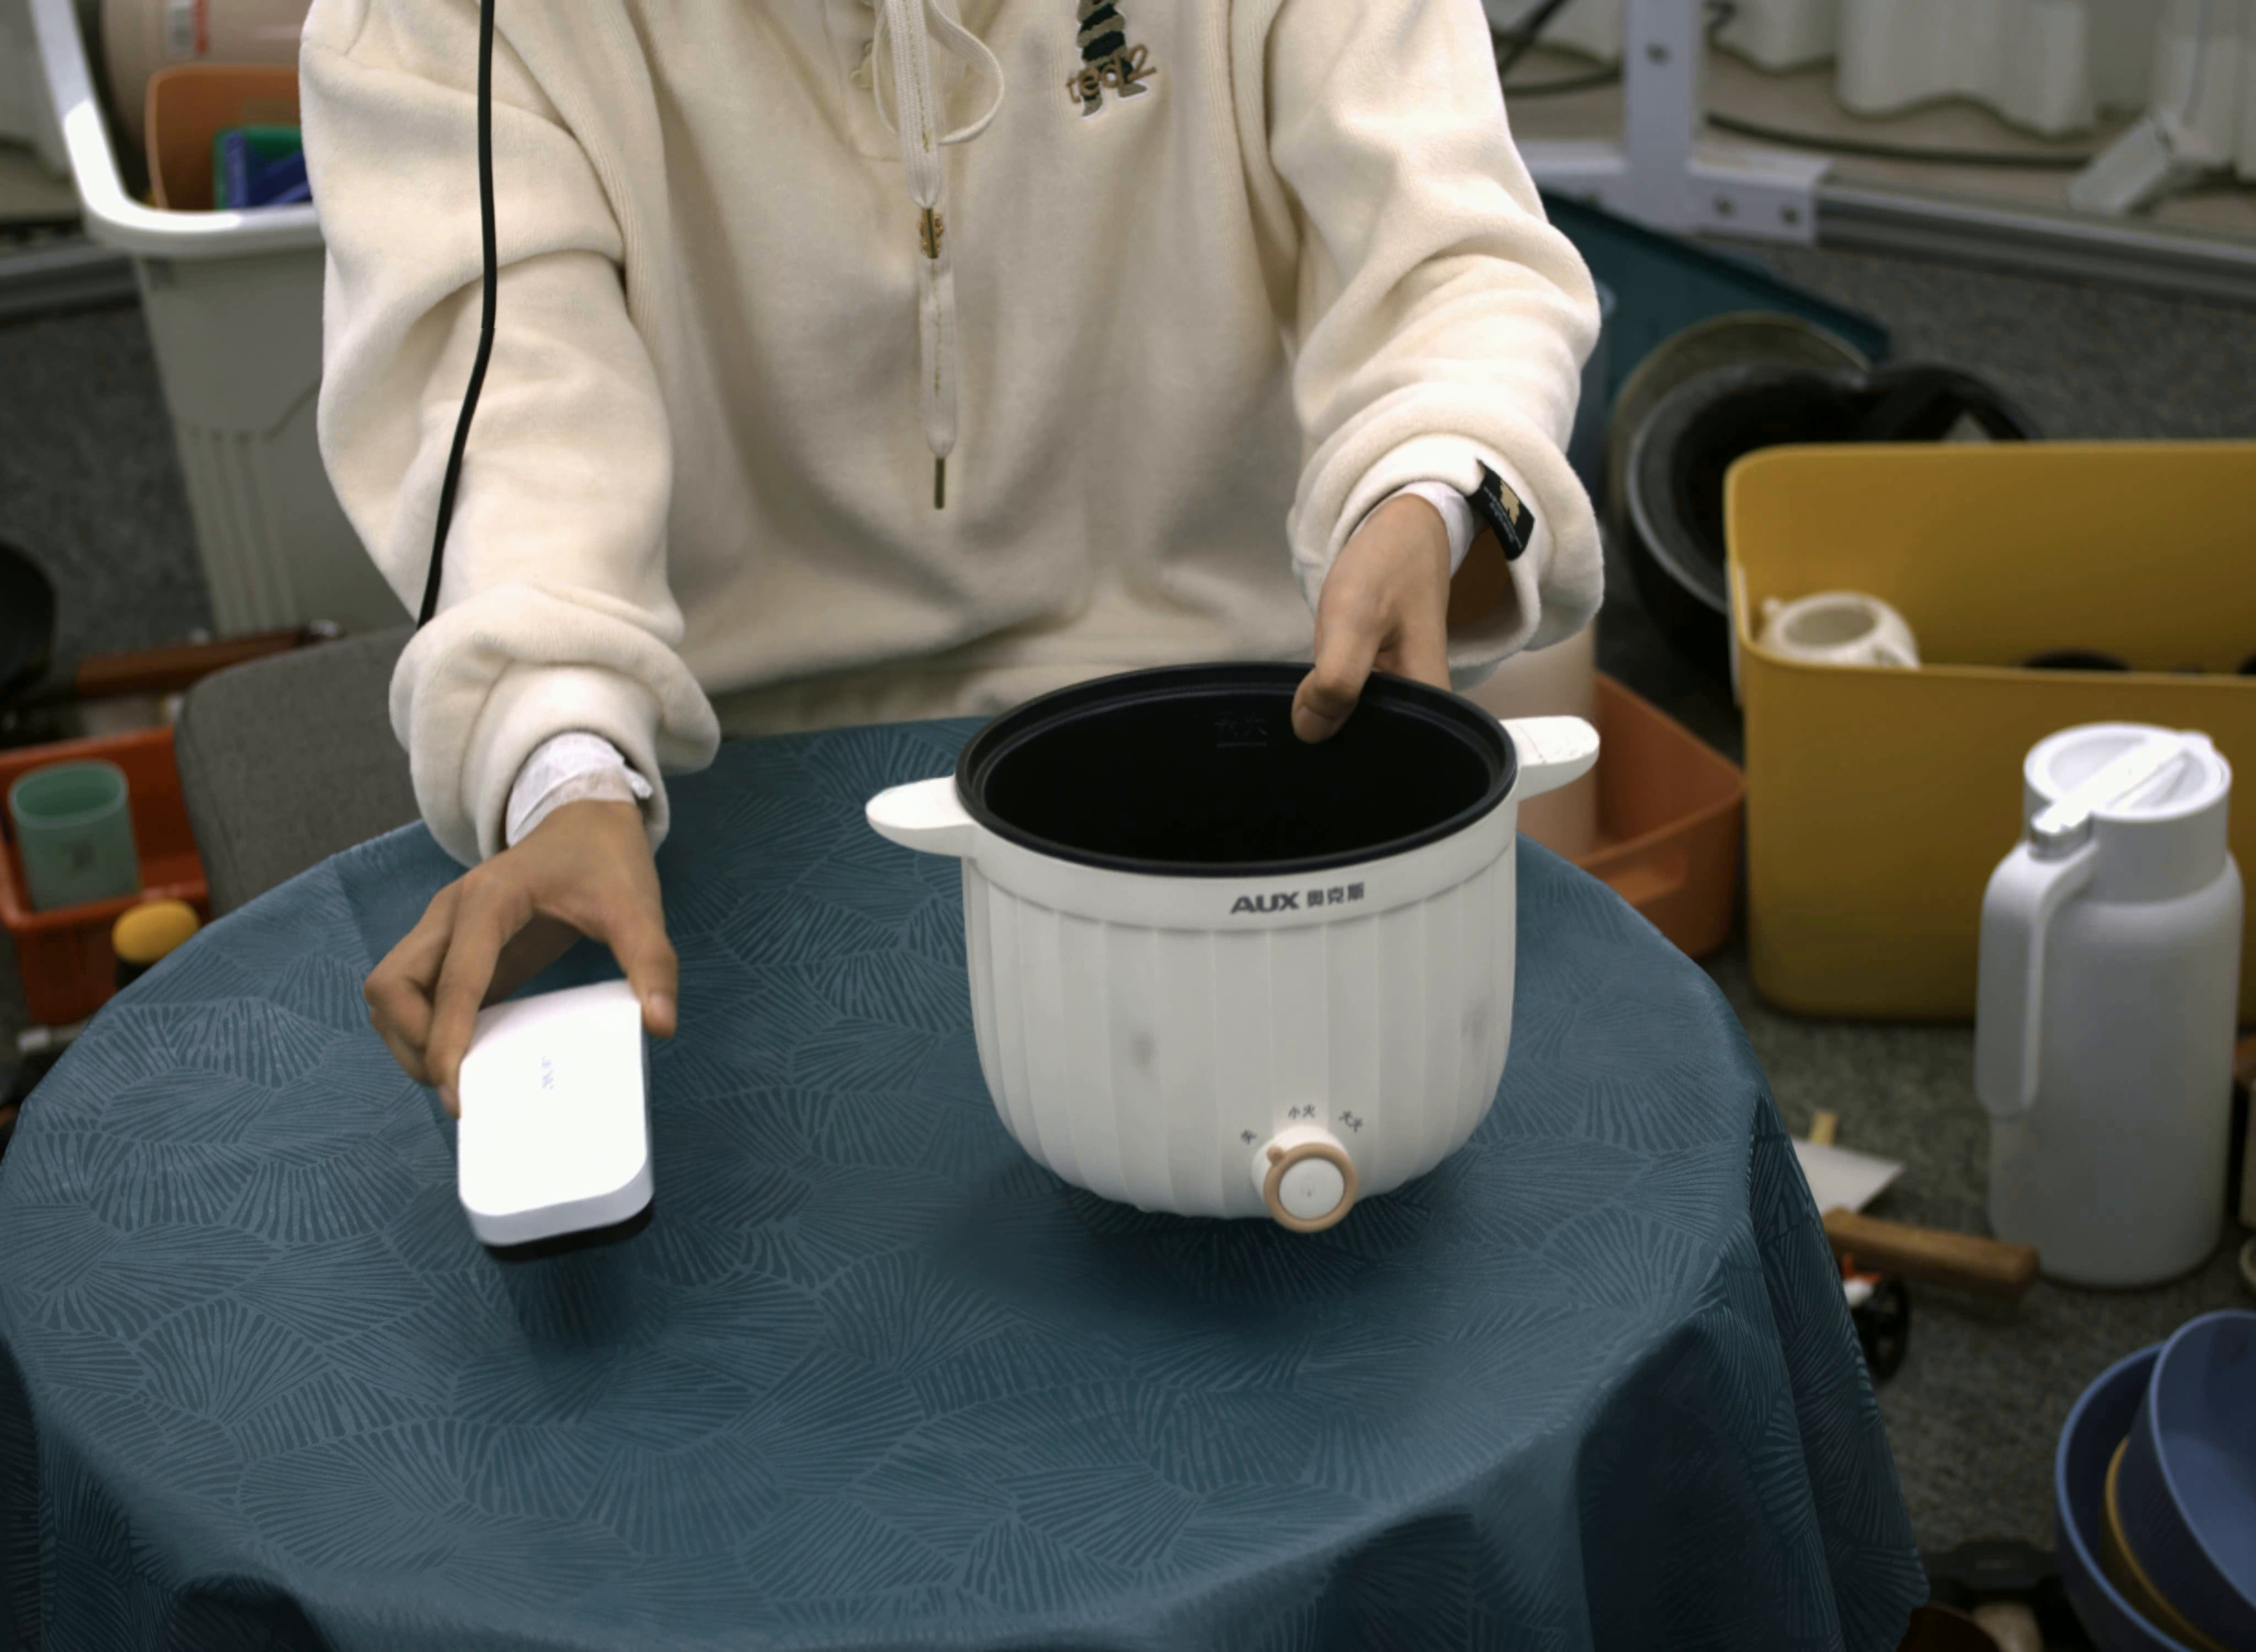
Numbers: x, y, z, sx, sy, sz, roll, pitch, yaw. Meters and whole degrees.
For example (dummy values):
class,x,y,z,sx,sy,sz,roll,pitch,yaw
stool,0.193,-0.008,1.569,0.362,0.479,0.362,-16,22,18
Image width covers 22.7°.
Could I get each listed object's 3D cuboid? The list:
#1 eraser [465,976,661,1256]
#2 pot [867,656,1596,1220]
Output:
class,x,y,z,sx,sy,sz,roll,pitch,yaw
eraser,-0.181,0.090,1.820,0.063,0.034,0.133,-11,29,0
pot,0.039,0.040,1.820,0.240,0.142,0.192,-7,18,-10
